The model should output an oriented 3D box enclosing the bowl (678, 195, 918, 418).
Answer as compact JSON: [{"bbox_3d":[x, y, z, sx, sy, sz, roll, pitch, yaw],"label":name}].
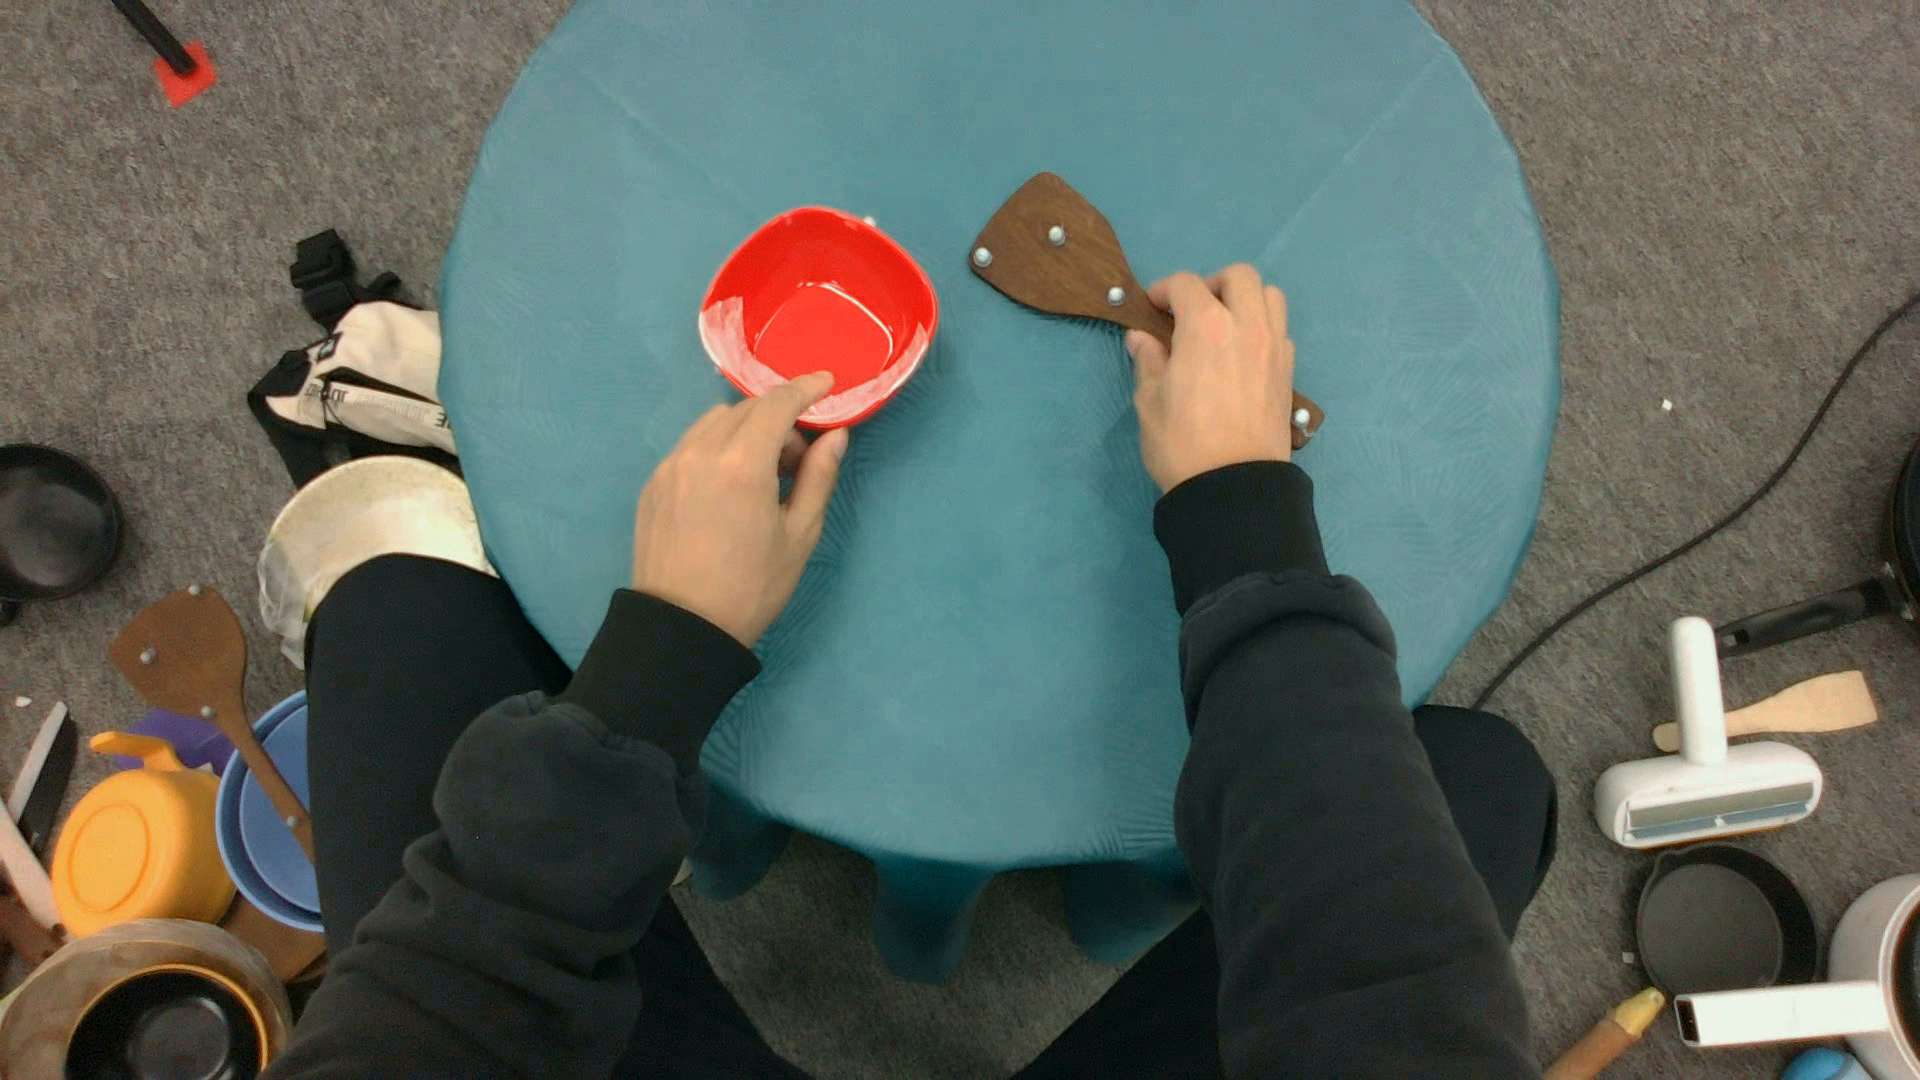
[{"bbox_3d":[-0.081,-0.112,0.706,0.119,0.051,0.119,1,73,-3],"label":"bowl"}]

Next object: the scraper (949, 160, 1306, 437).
[{"bbox_3d":[0.092,-0.123,0.733,0.211,0.011,0.076,38,78,12],"label":"scraper"}]
